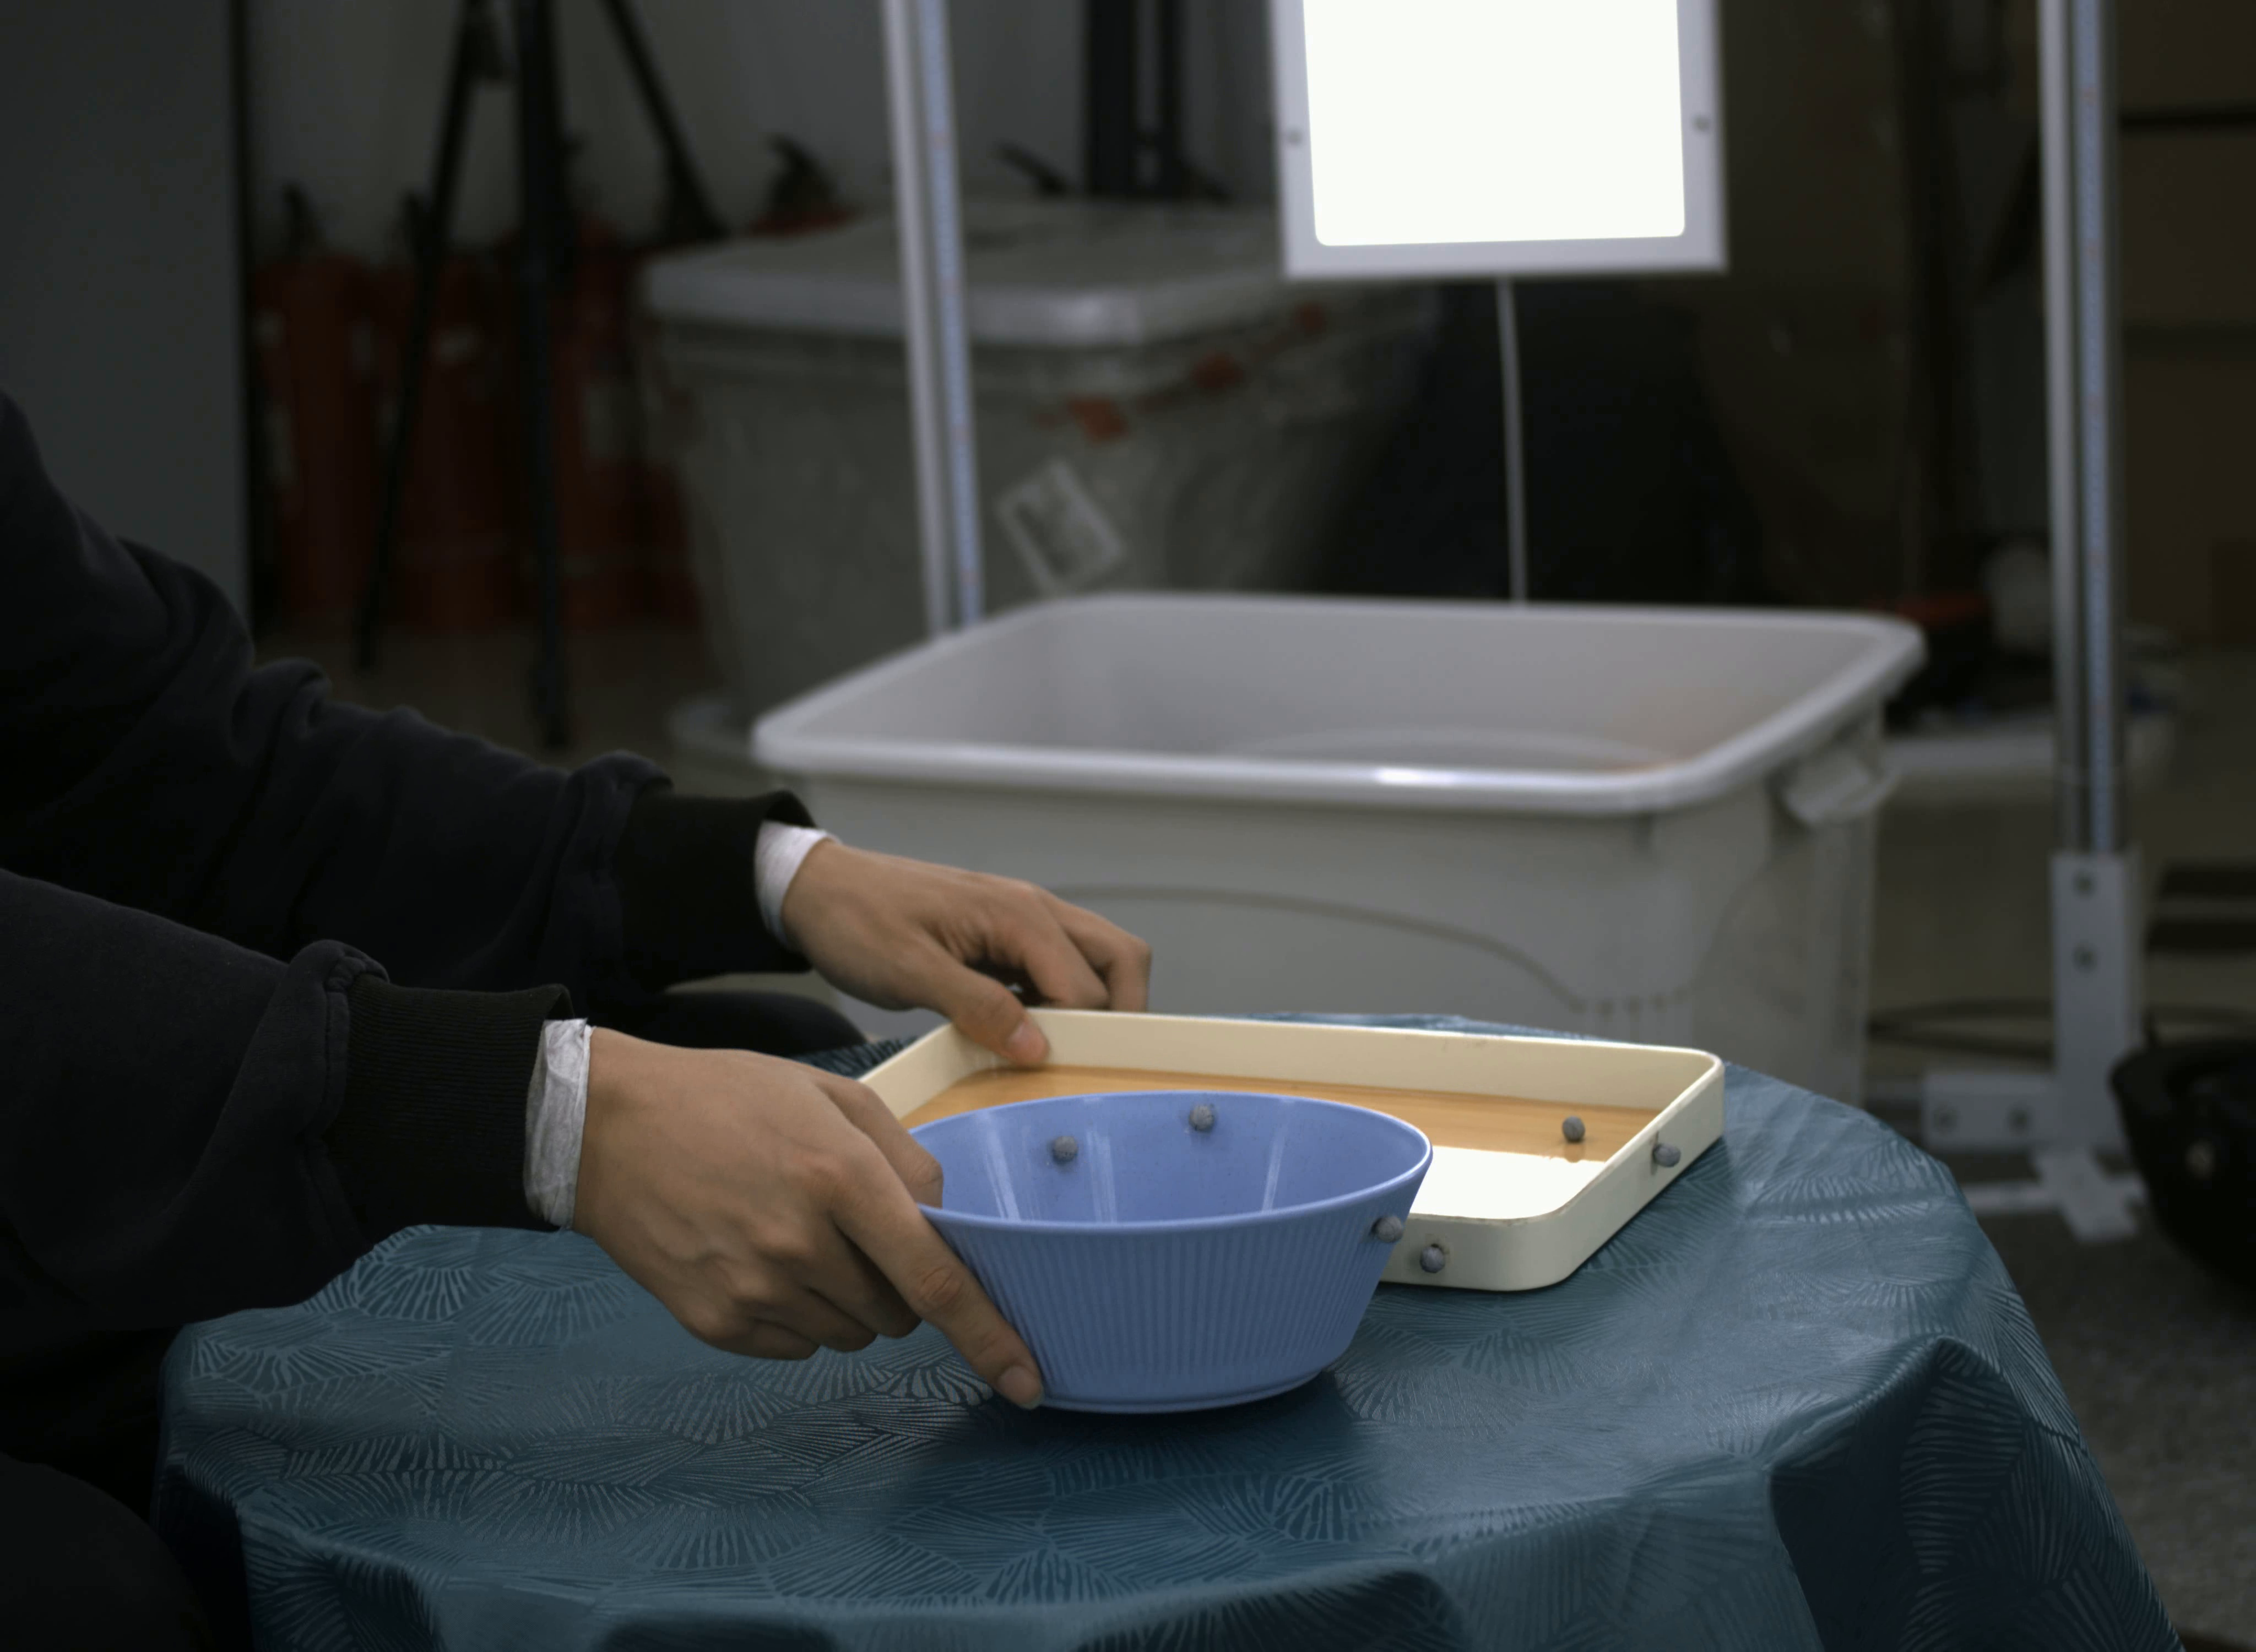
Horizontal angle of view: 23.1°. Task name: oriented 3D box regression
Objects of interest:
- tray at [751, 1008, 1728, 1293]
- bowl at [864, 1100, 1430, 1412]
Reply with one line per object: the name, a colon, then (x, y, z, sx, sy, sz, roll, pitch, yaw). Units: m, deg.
tray: (0.040, 0.109, 1.896, 0.305, 0.027, 0.187, 3, 16, 27)
bowl: (0.007, 0.133, 1.694, 0.175, 0.070, 0.176, -2, 9, -1)
